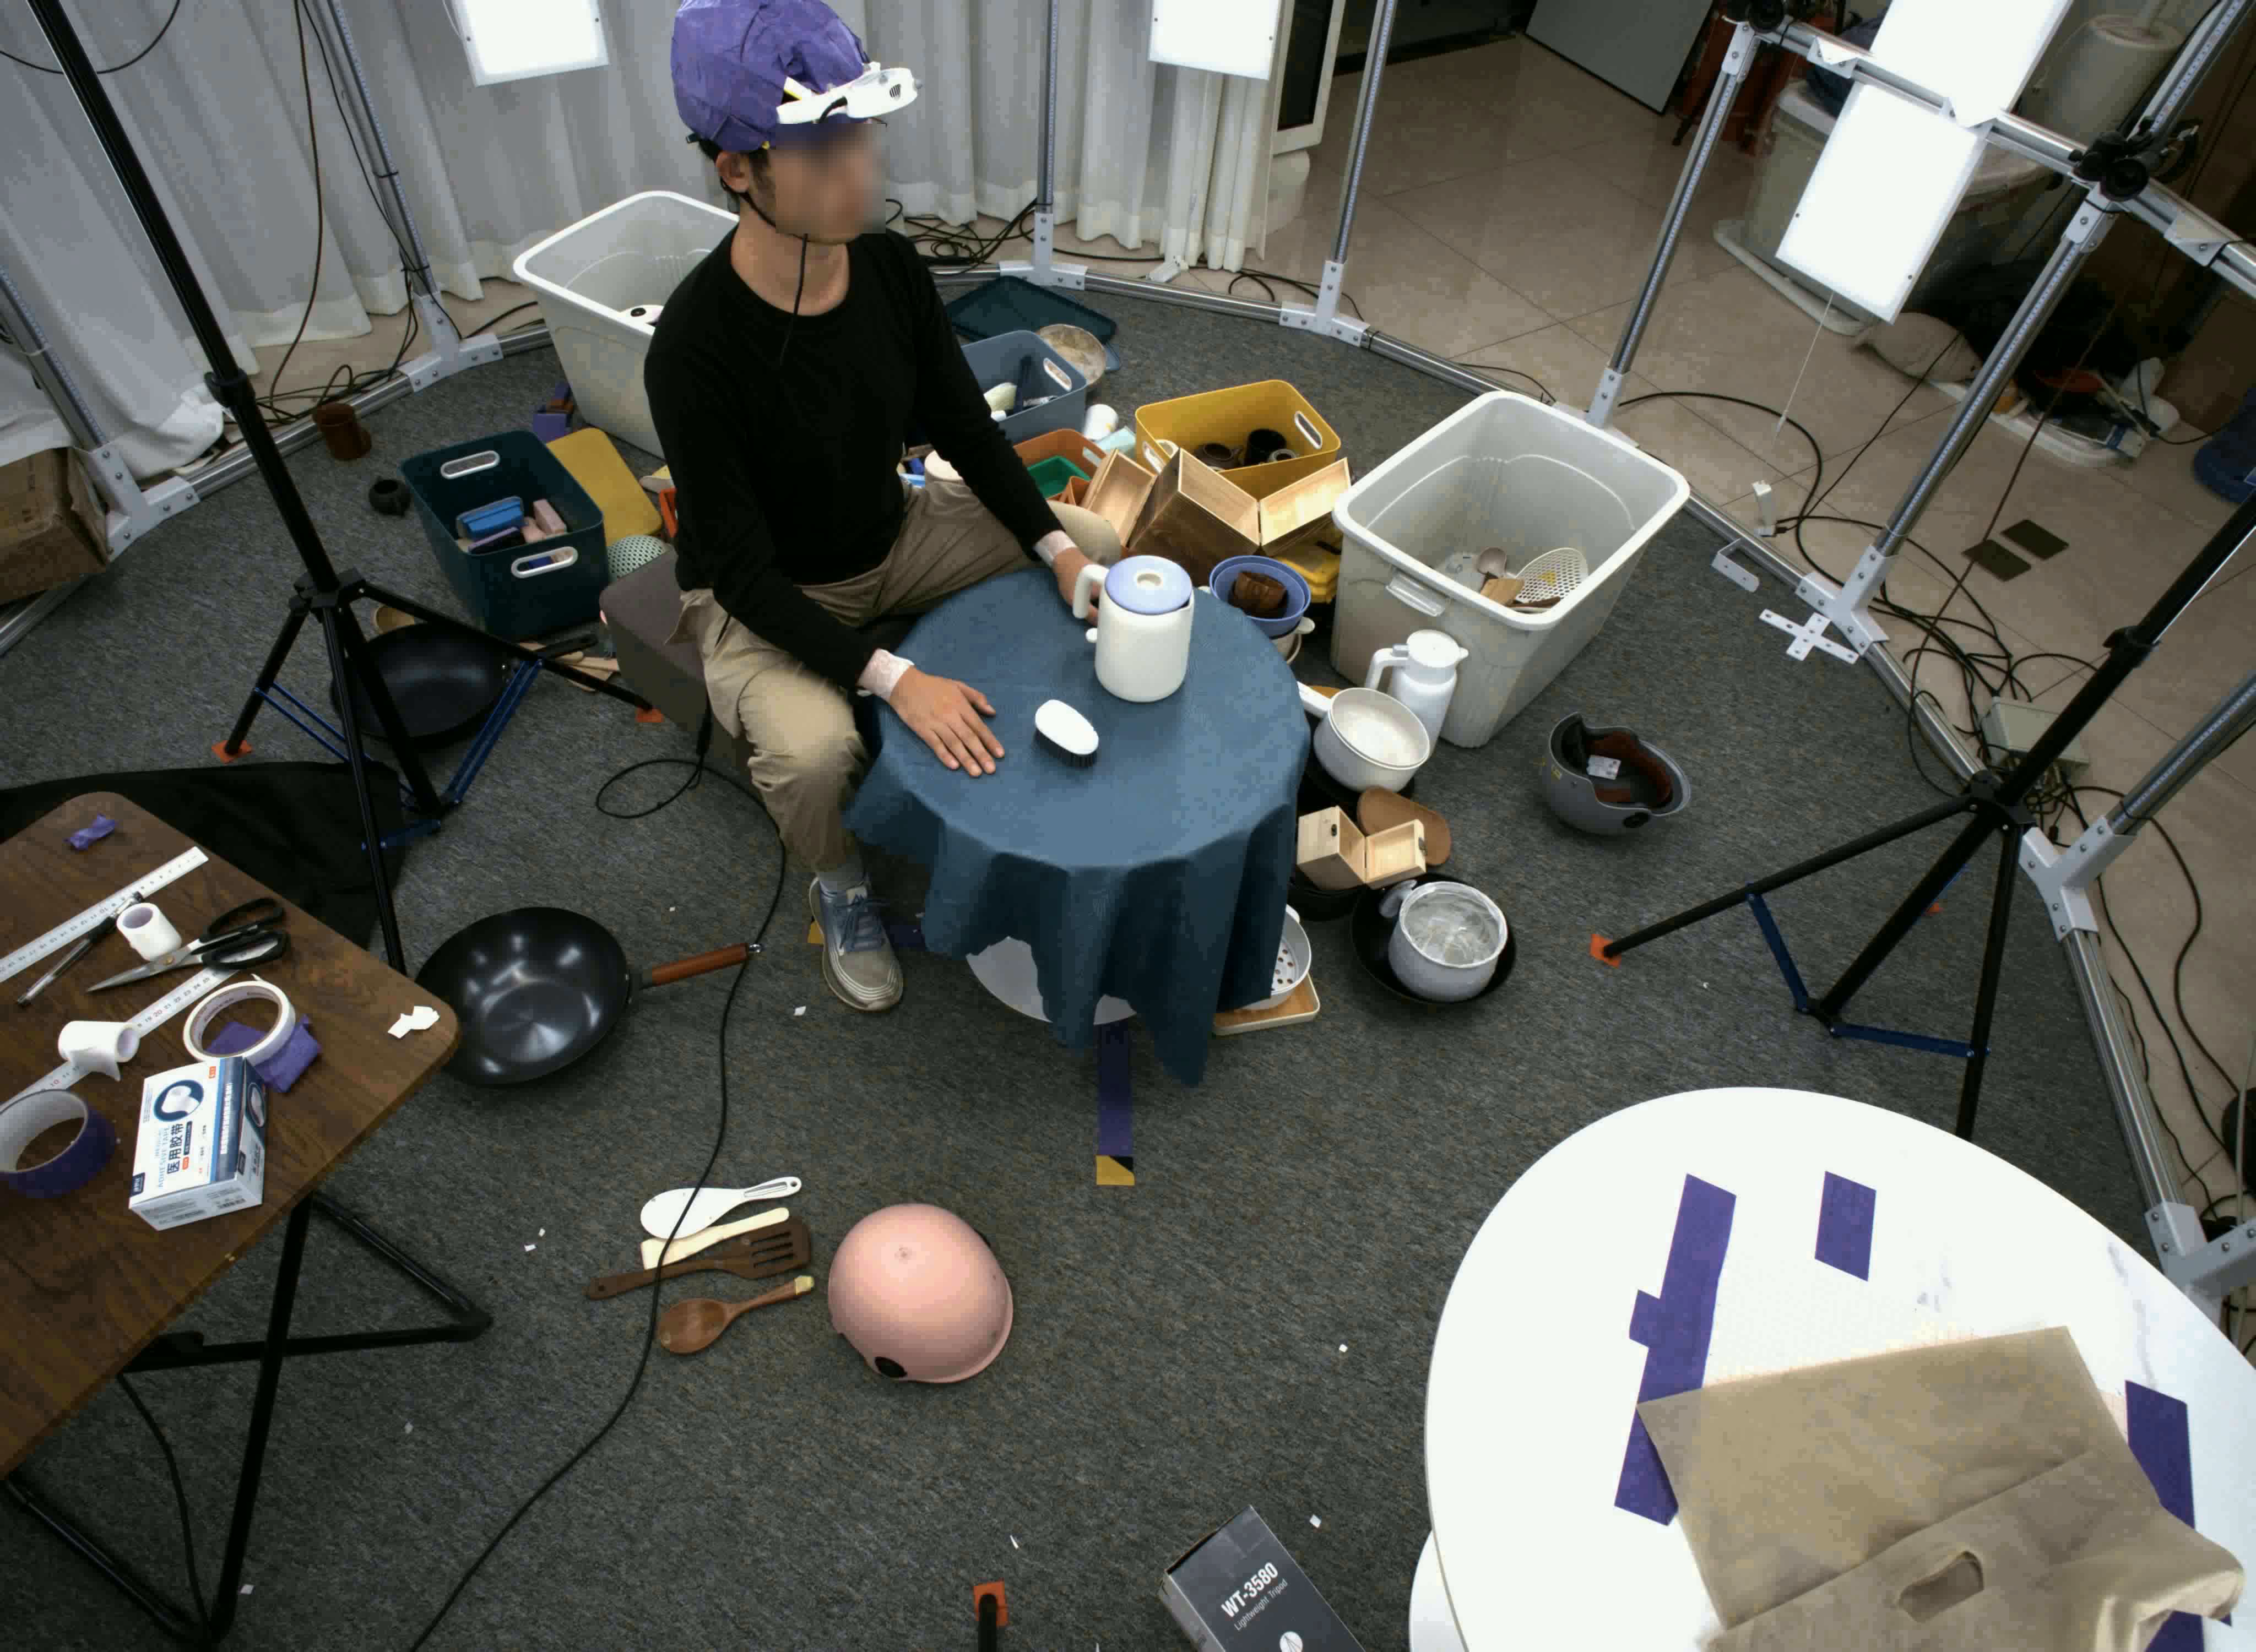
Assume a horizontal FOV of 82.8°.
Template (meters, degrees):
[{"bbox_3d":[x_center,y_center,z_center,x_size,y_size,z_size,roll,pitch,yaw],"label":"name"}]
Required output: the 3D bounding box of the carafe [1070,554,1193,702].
[{"bbox_3d":[0.001,-0.288,1.809,0.193,0.178,0.134,28,53,20],"label":"carafe"}]

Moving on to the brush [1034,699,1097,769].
[{"bbox_3d":[-0.085,-0.132,1.731,0.100,0.071,0.051,36,56,24],"label":"brush"}]
